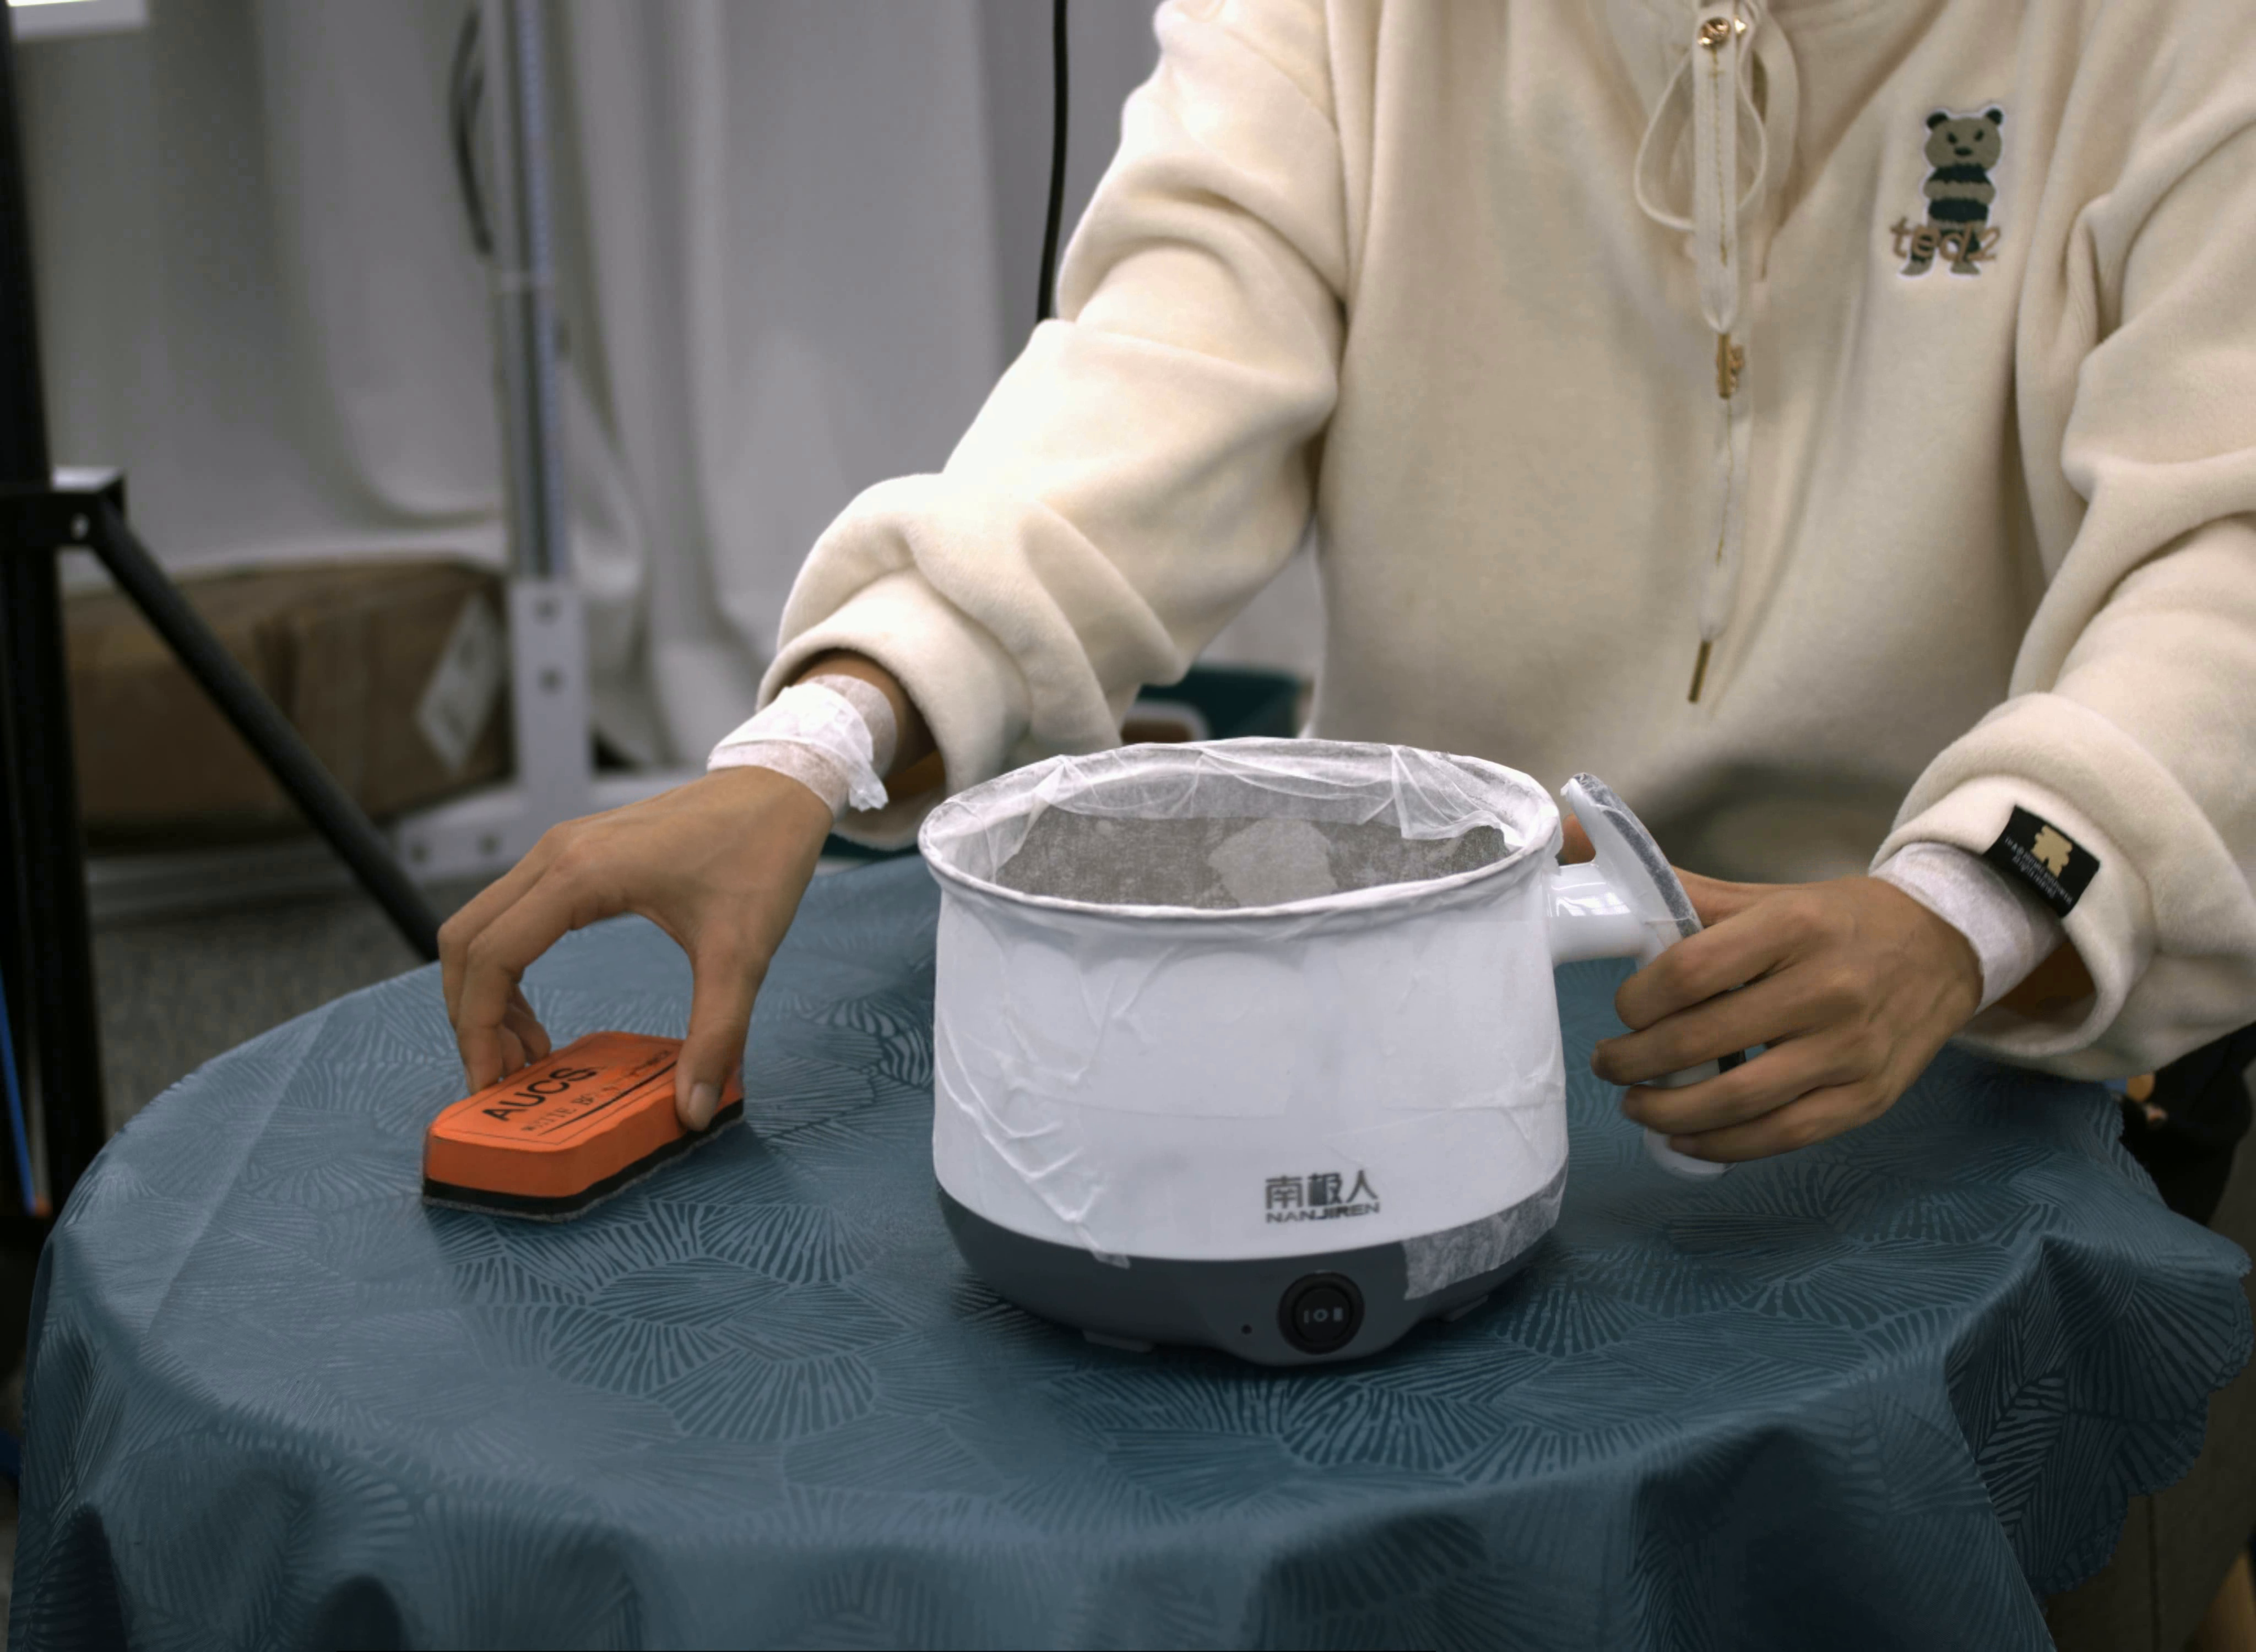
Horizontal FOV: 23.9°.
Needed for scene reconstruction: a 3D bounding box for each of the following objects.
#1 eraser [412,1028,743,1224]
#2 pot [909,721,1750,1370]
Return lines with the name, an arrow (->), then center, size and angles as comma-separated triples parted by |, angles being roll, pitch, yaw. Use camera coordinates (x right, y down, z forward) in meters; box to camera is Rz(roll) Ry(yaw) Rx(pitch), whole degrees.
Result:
eraser -> -0.165, 0.090, 1.607 | 0.060, 0.023, 0.106 | 12, 20, 26
pot -> 0.059, 0.055, 1.475 | 0.231, 0.136, 0.181 | -7, 17, -9
